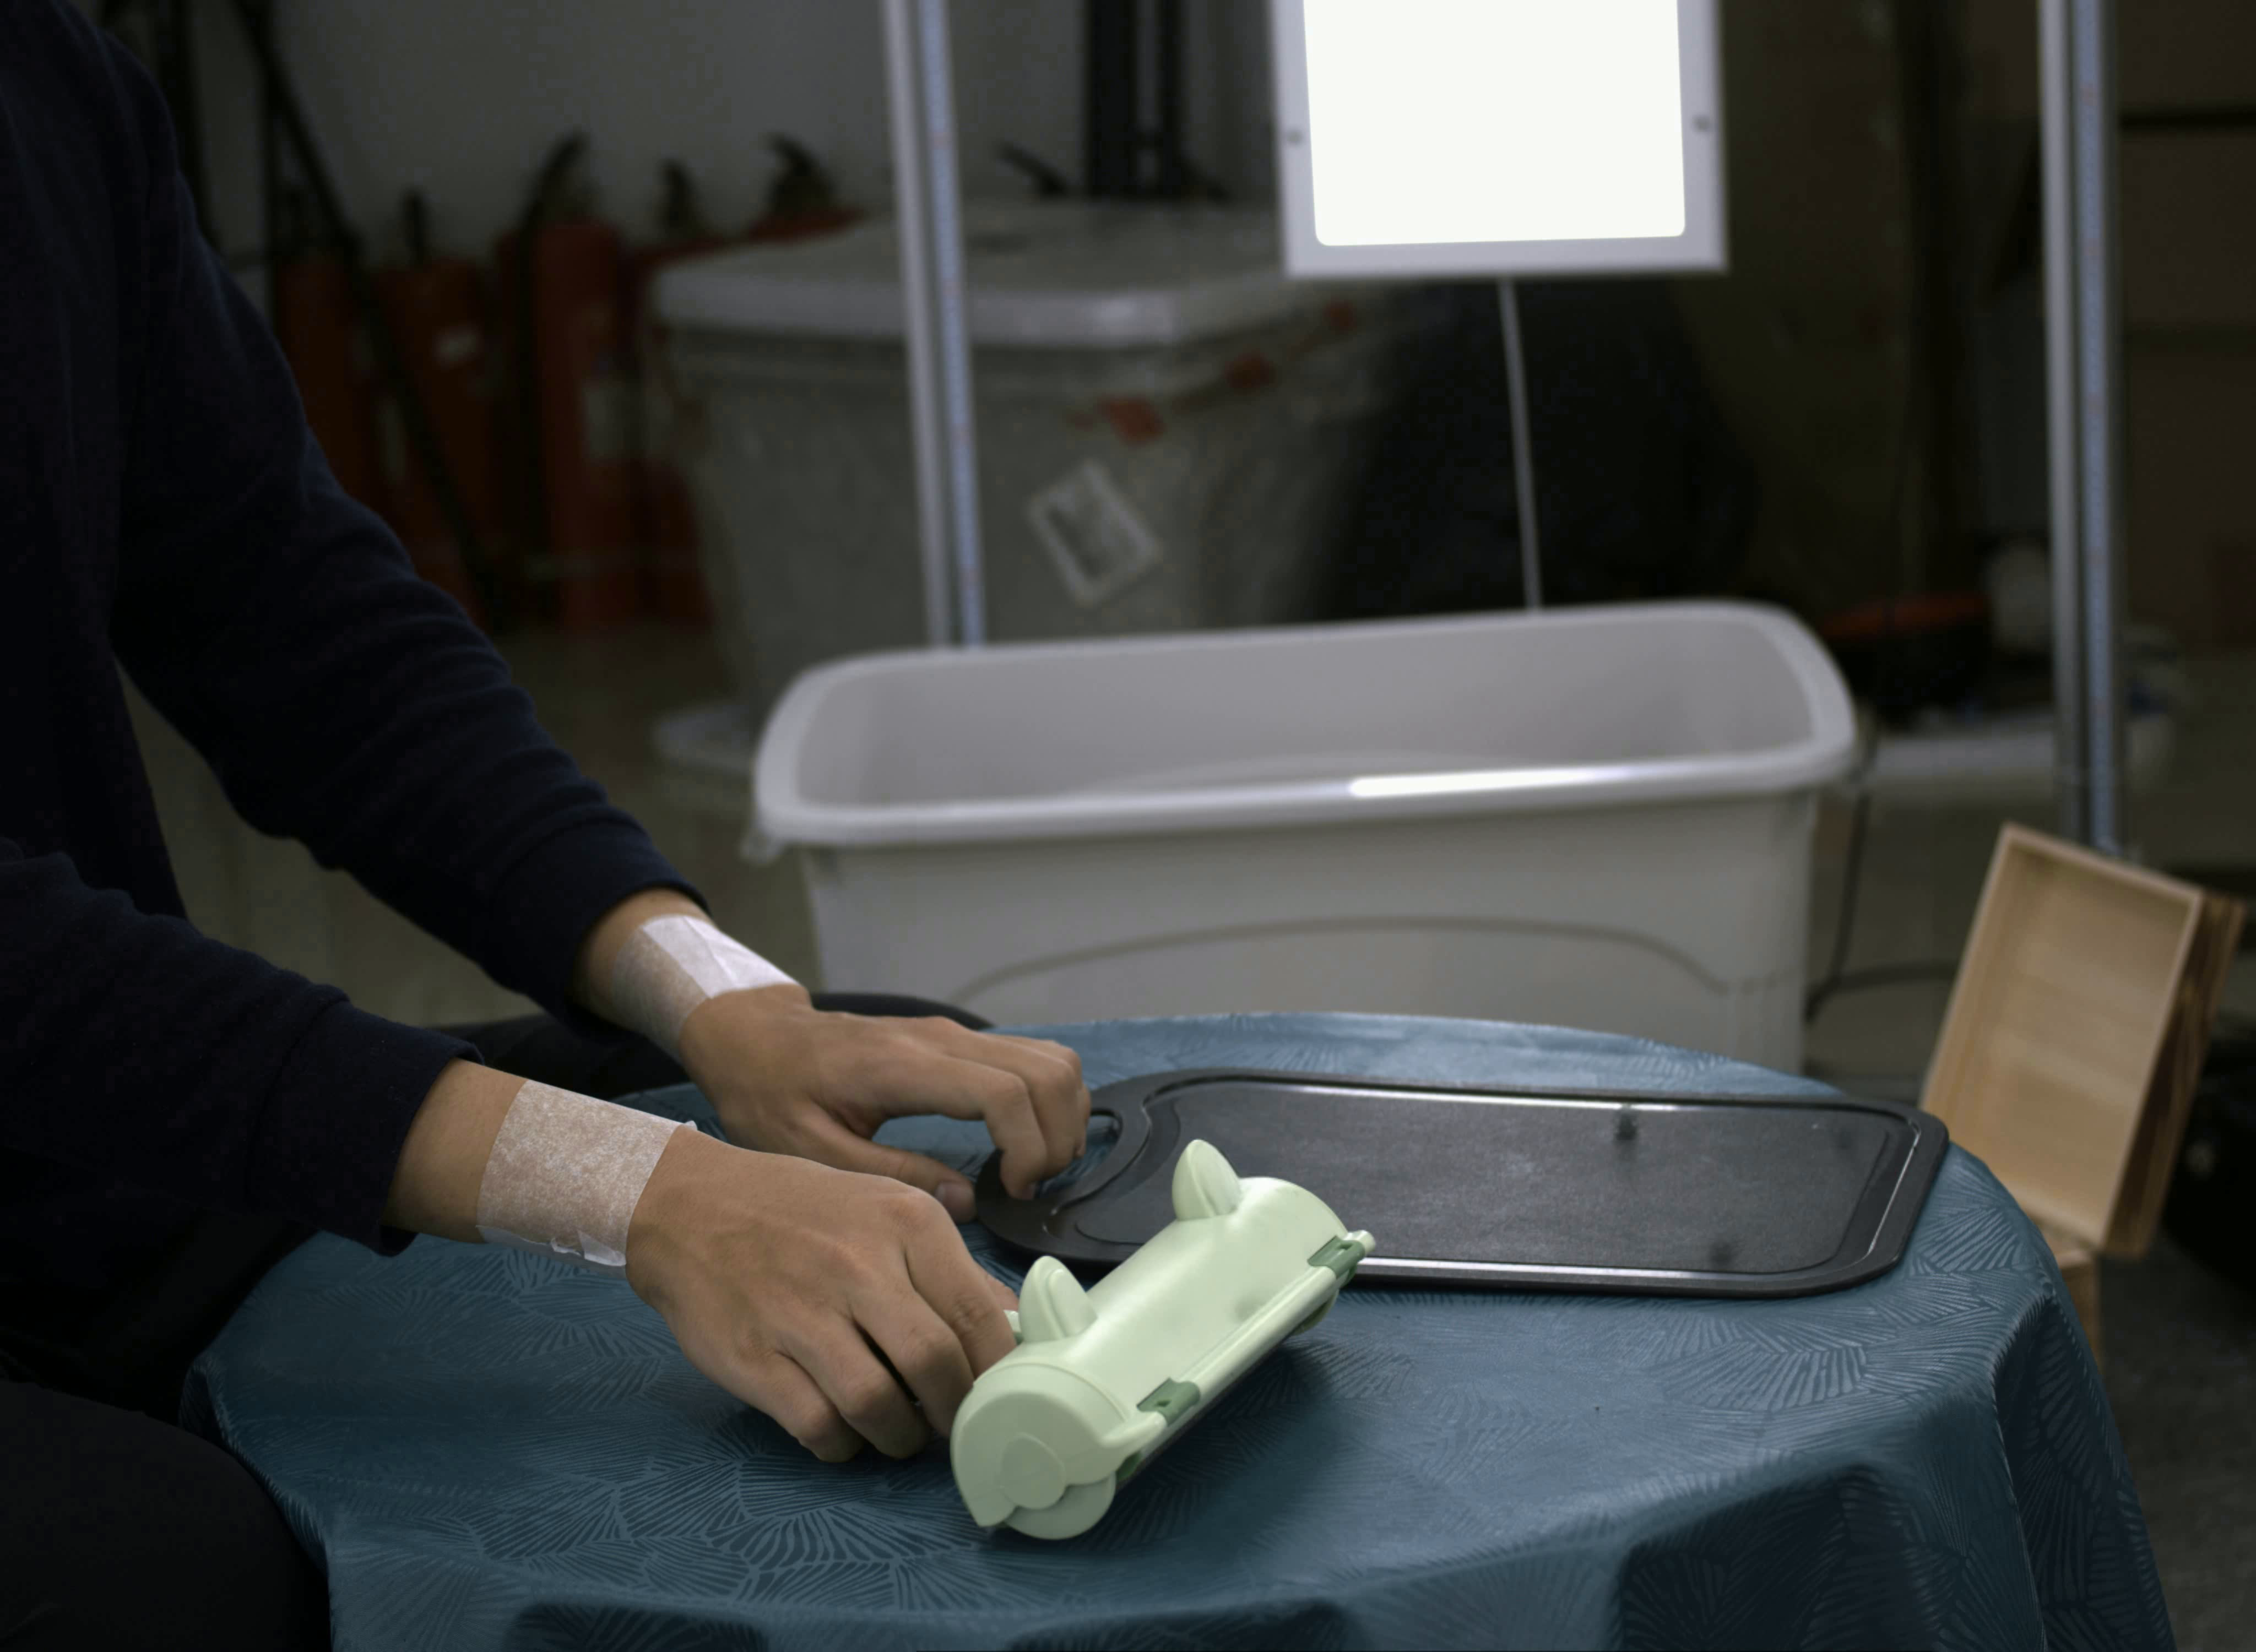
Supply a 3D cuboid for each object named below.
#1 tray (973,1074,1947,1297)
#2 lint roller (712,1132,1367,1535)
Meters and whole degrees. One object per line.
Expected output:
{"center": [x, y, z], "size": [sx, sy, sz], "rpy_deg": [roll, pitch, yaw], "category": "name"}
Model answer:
{"center": [0.109, 0.118, 1.865], "size": [0.329, 0.010, 0.208], "rpy_deg": [1, 15, 18], "category": "tray"}
{"center": [-0.043, 0.142, 1.671], "size": [0.186, 0.082, 0.195], "rpy_deg": [8, 17, 23], "category": "lint roller"}
